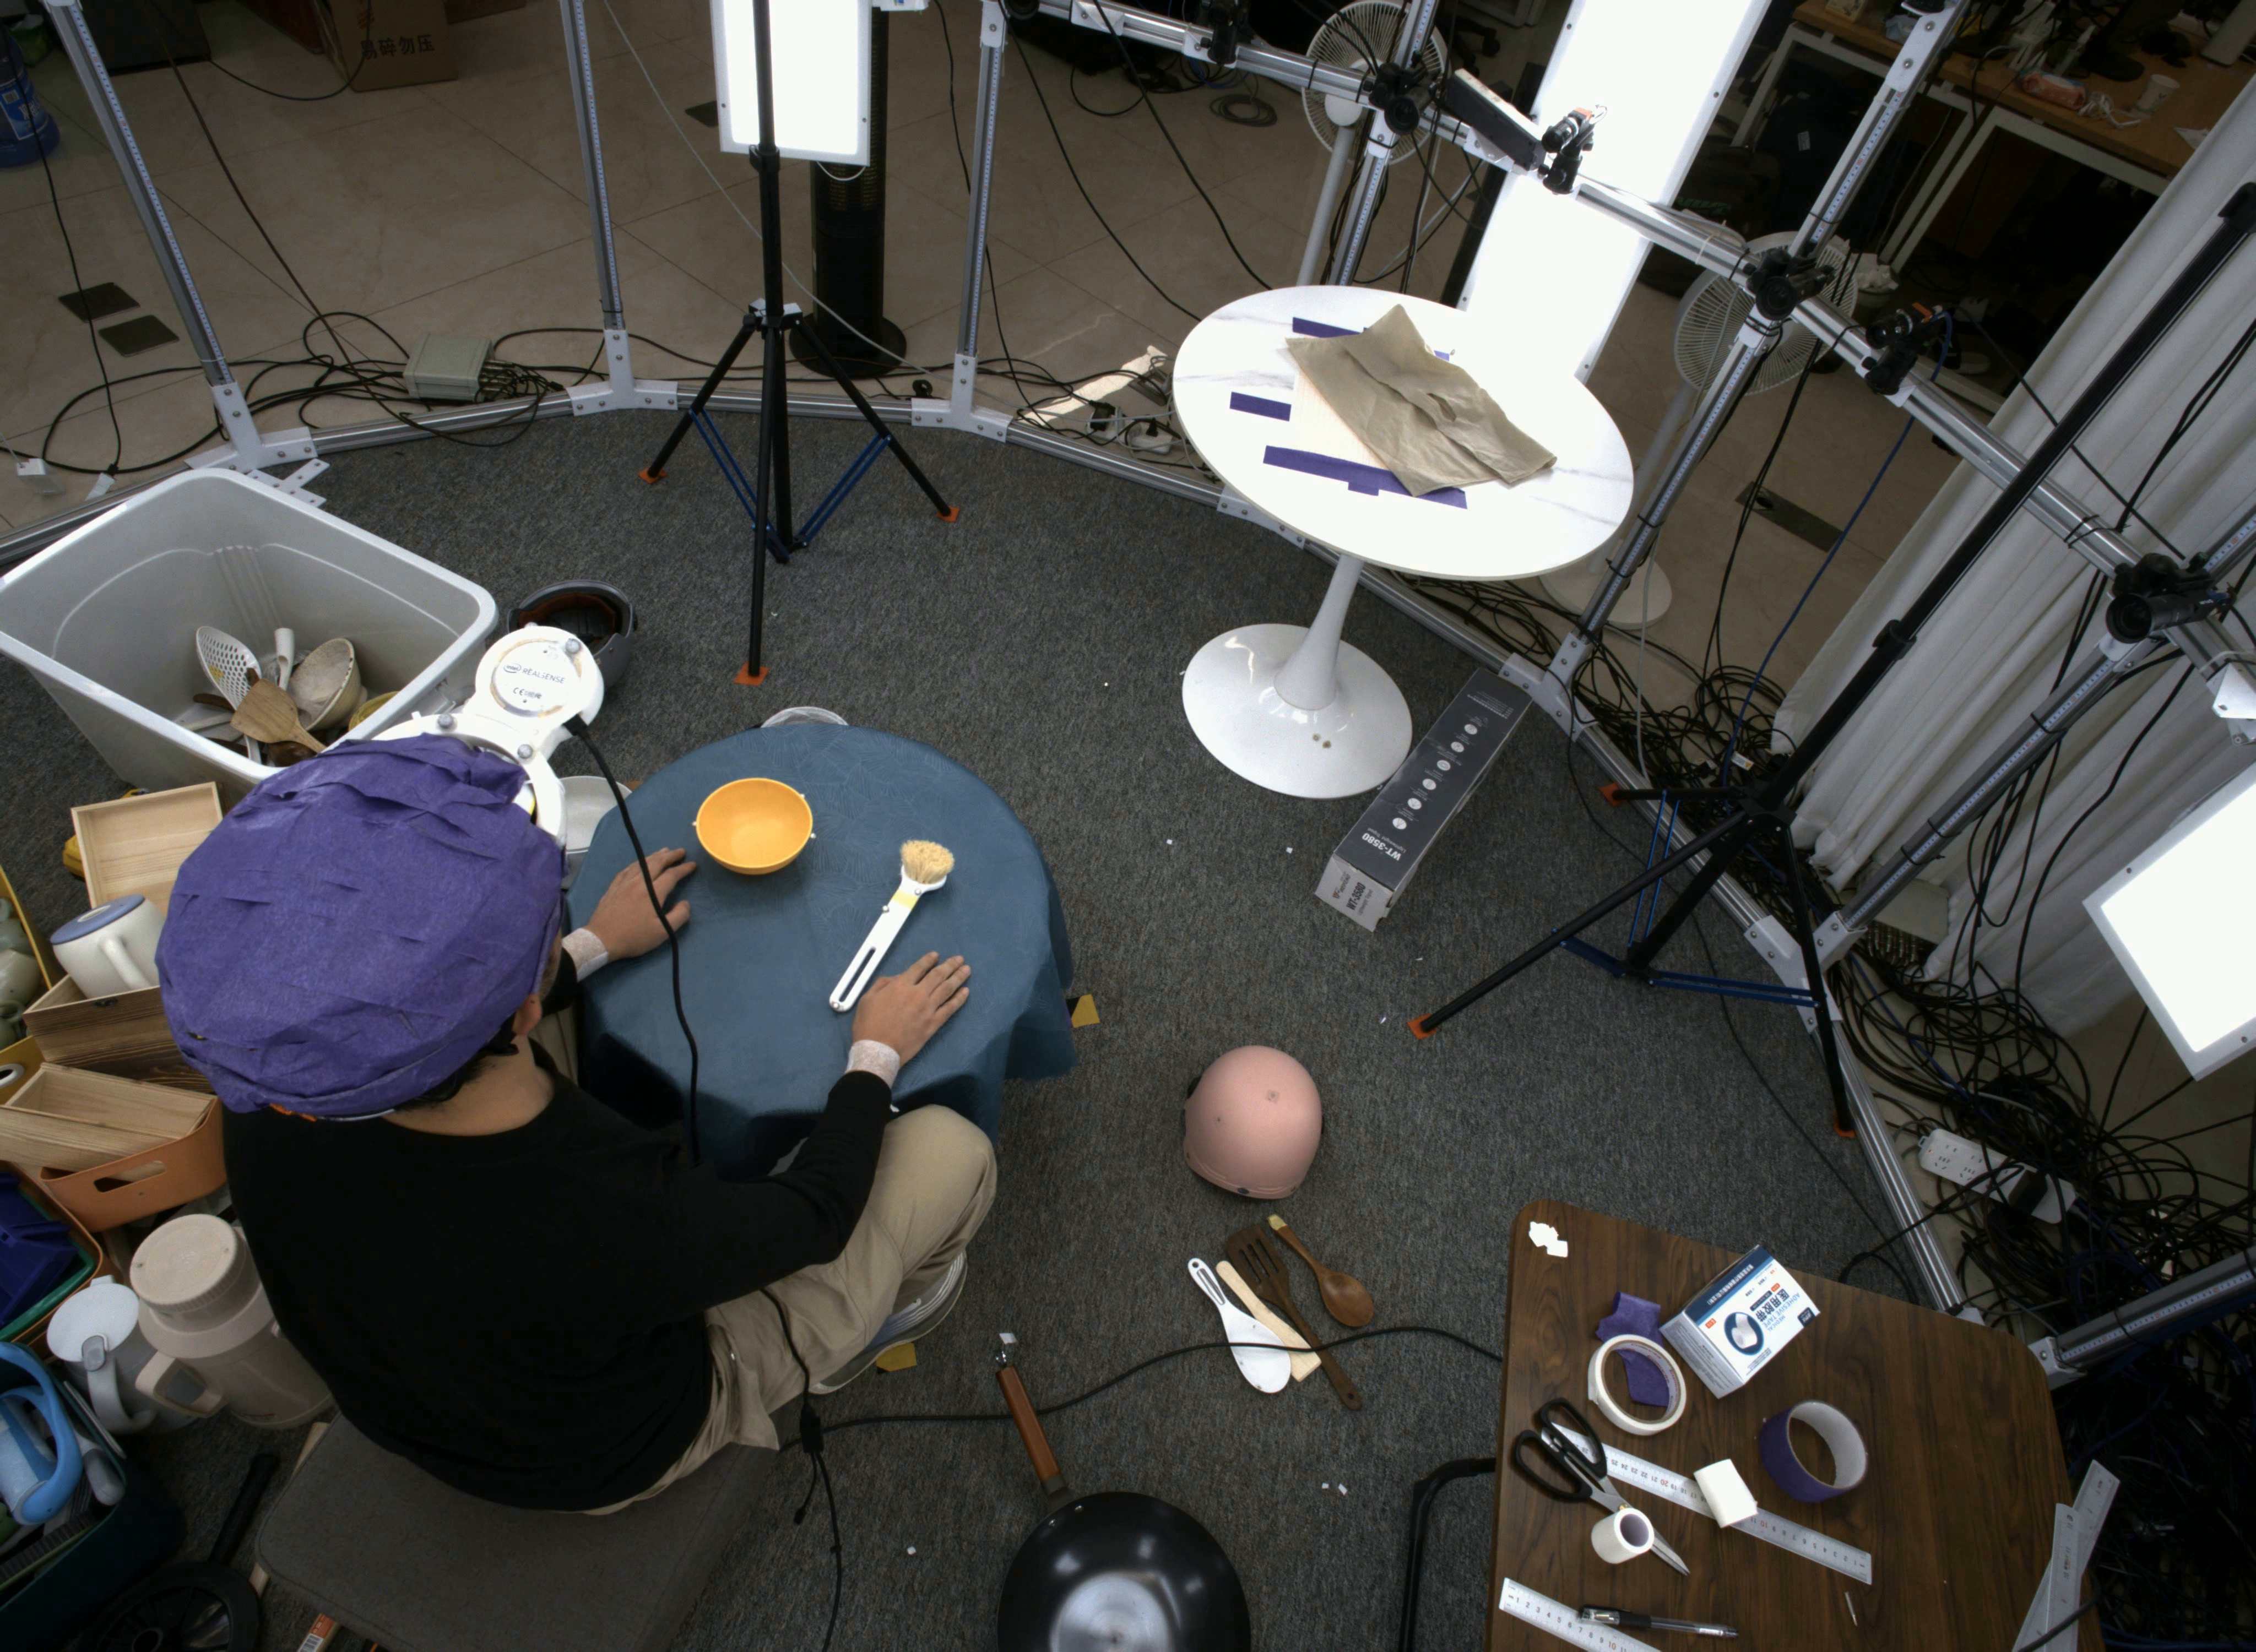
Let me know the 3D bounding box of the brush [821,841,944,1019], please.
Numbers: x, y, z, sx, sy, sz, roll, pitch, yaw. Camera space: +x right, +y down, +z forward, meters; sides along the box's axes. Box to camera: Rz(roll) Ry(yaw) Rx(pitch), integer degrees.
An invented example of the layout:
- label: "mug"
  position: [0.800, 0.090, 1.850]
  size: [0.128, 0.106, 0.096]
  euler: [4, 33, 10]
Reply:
- label: "brush"
  position: [-0.310, 0.121, 1.624]
  size: [0.067, 0.057, 0.264]
  euler: [21, 52, 9]

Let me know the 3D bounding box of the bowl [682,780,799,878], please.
- label: "bowl"
  position: [-0.493, 0.014, 1.652]
  size: [0.145, 0.061, 0.143]
  euler: [7, 52, -7]
